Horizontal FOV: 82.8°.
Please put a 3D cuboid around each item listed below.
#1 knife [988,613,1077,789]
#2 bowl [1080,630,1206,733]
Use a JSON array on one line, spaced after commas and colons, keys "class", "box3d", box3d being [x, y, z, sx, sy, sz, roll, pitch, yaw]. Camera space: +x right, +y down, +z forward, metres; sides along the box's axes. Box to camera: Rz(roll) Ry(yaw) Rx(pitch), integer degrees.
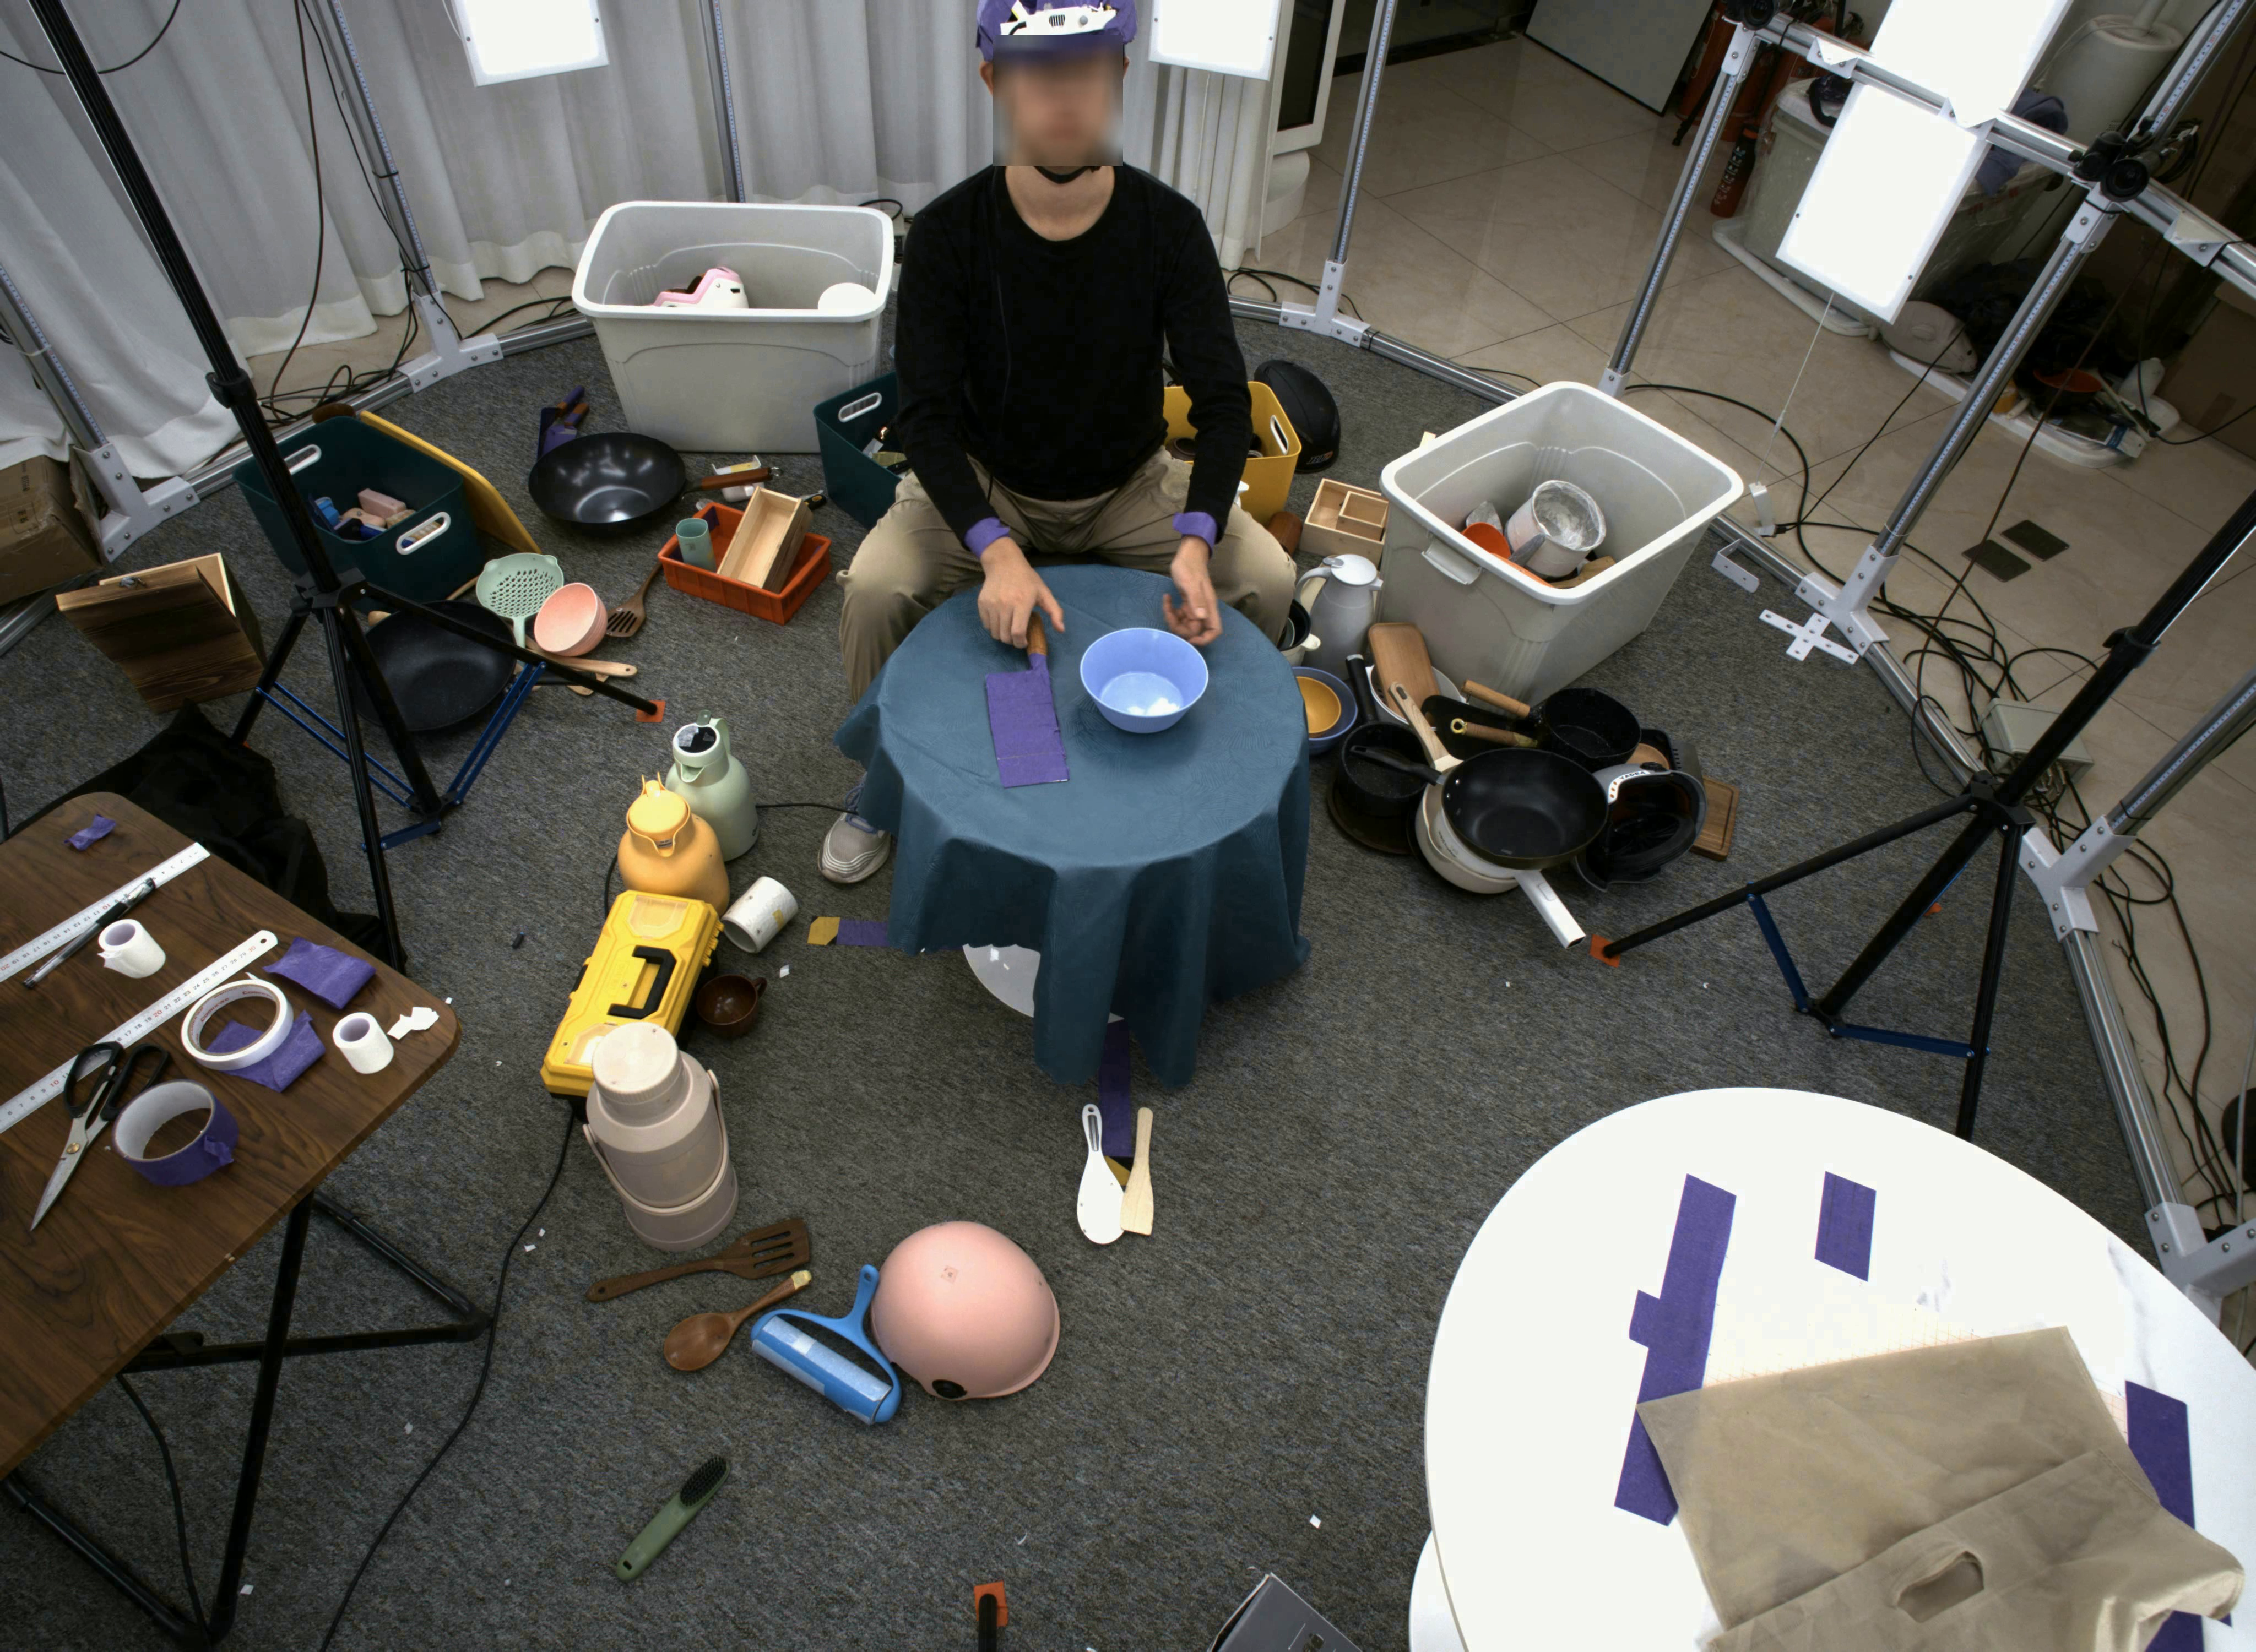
[{"class": "knife", "box3d": [-0.146, -0.181, 1.800, 0.104, 0.031, 0.323, -6, 50, -9]}, {"class": "bowl", "box3d": [0.018, -0.193, 1.791, 0.176, 0.068, 0.180, 3, 48, -3]}]
